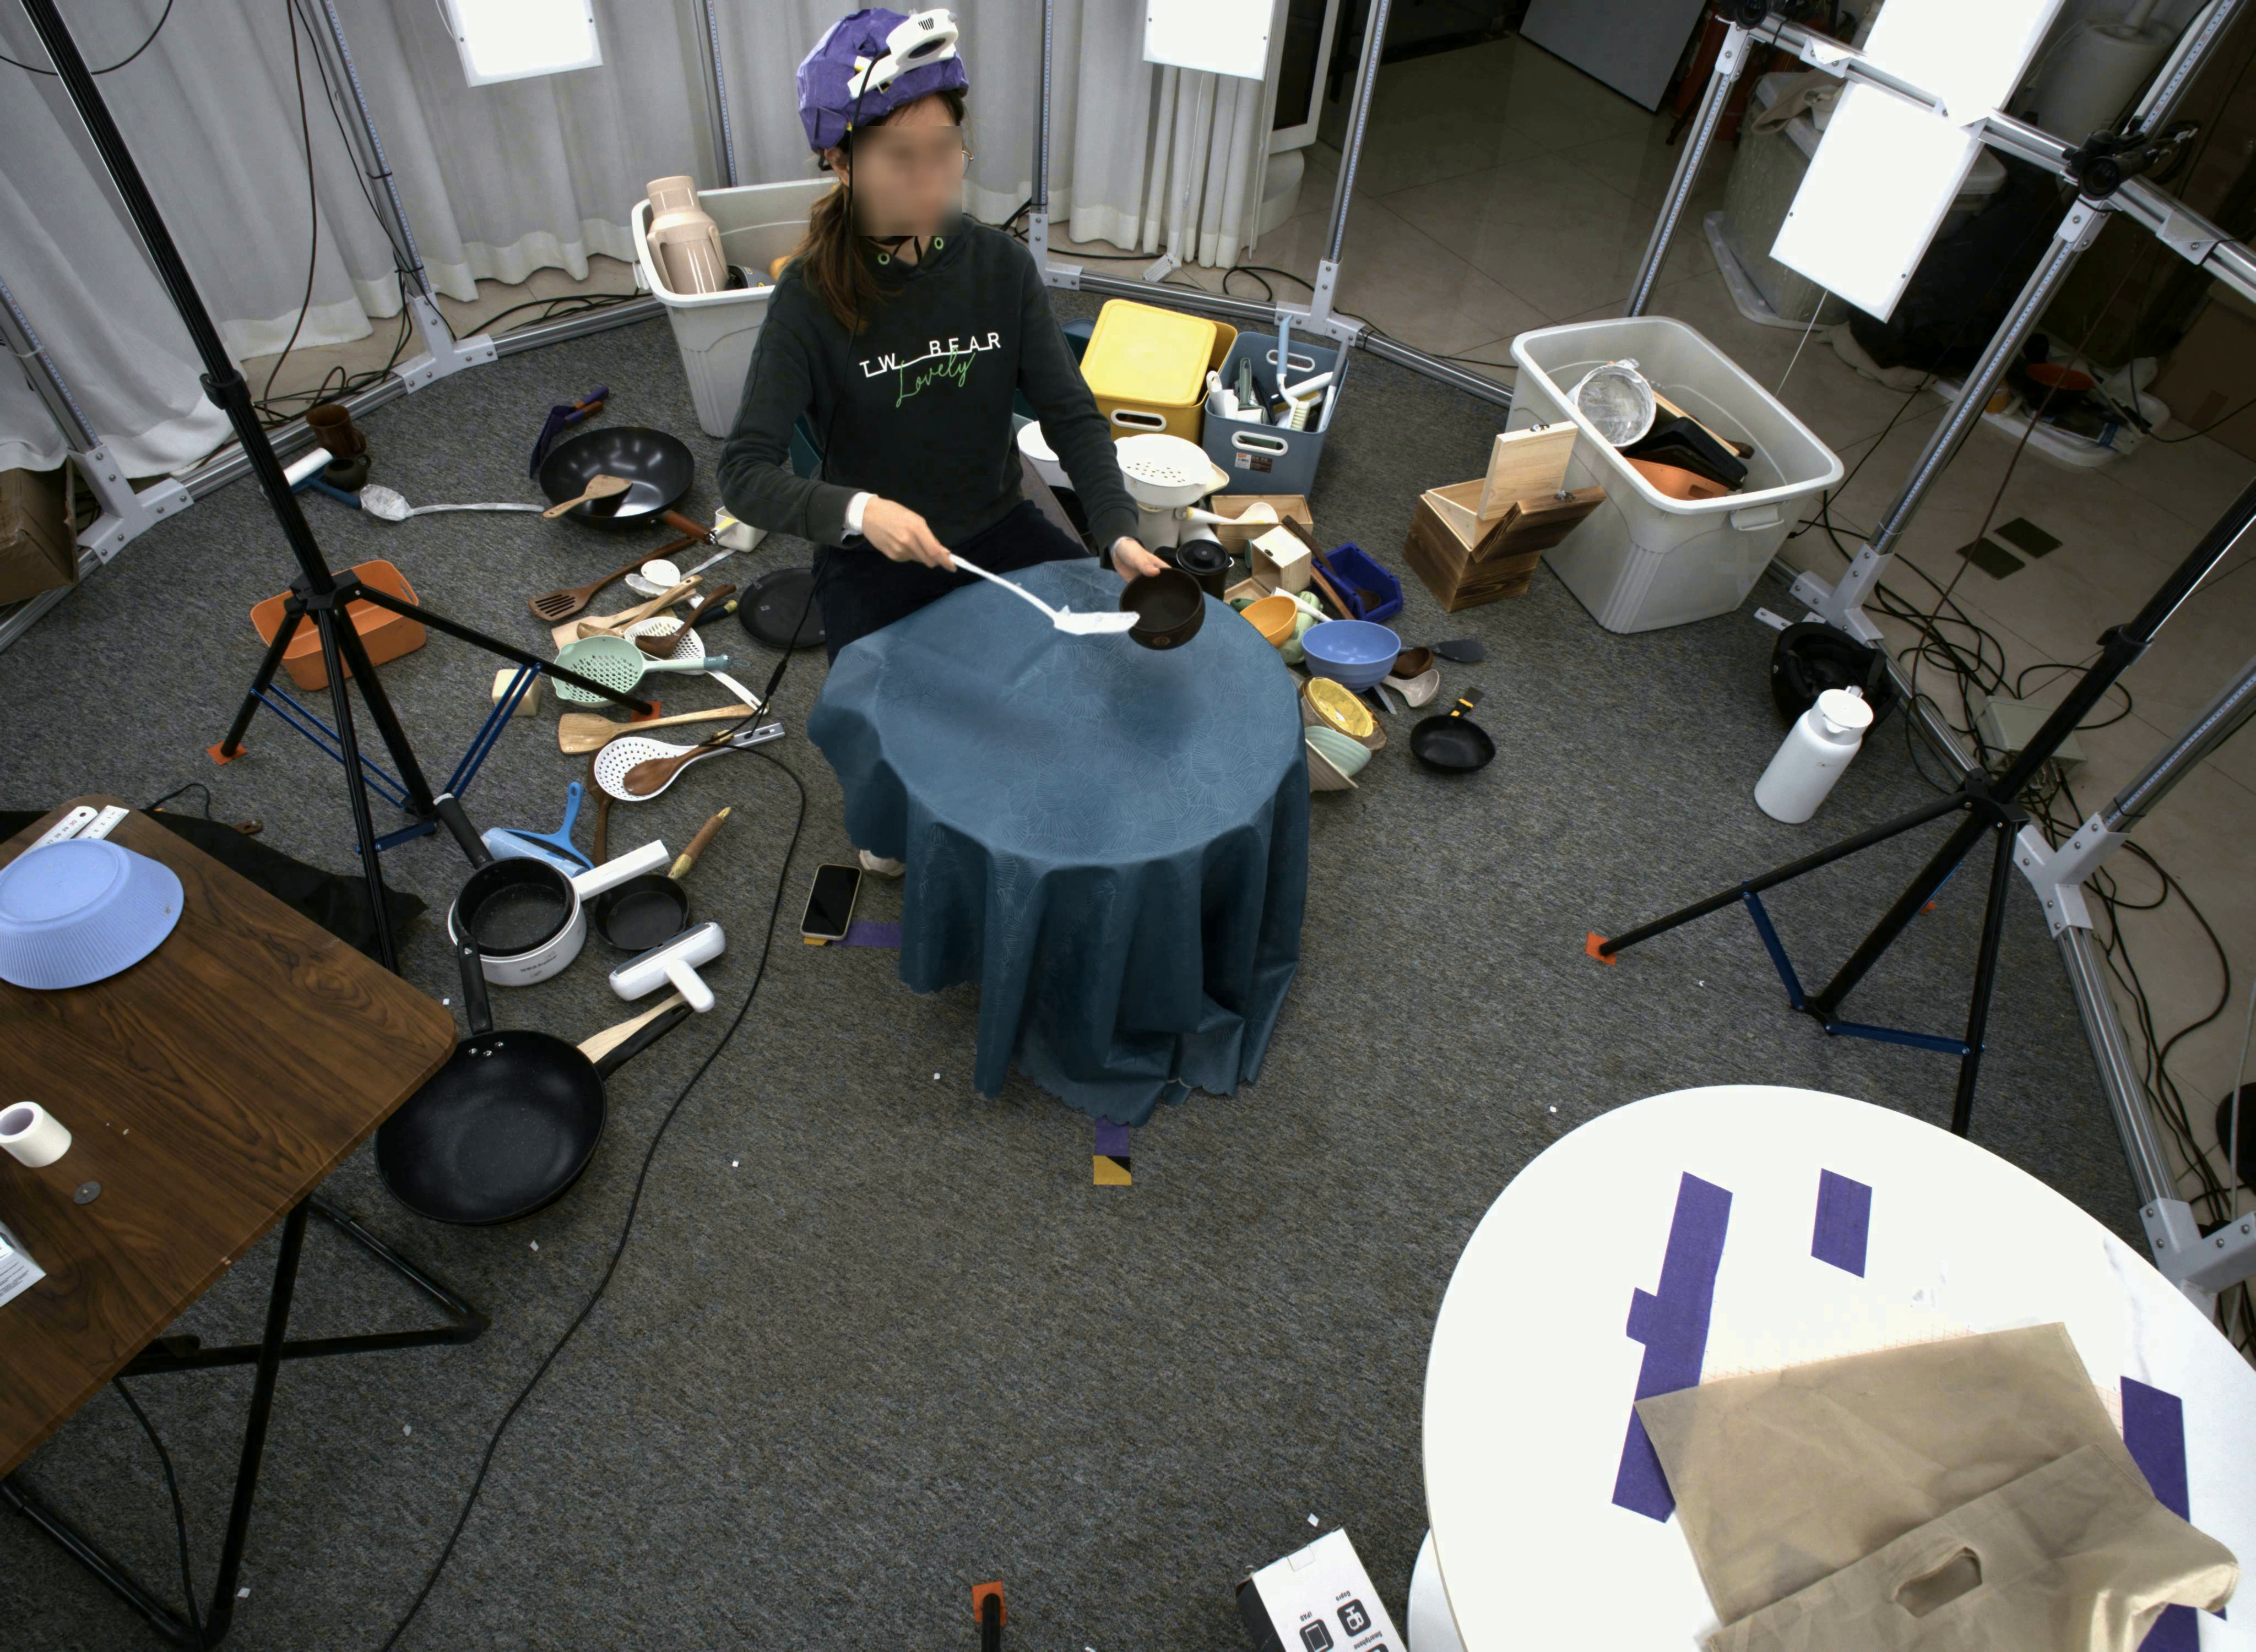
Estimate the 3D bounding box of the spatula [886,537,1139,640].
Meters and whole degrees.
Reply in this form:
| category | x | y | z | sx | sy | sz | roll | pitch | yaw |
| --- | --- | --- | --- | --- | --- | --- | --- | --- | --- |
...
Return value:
| category | x | y | z | sx | sy | sz | roll | pitch | yaw |
| --- | --- | --- | --- | --- | --- | --- | --- | --- | --- |
| spatula | -0.159 | -0.312 | 1.657 | 0.367 | 0.044 | 0.100 | 27 | 33 | 12 |

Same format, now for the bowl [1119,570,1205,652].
| category | x | y | z | sx | sy | sz | roll | pitch | yaw |
| --- | --- | --- | --- | --- | --- | --- | --- | --- | --- |
| bowl | 0.050 | -0.291 | 1.789 | 0.118 | 0.068 | 0.121 | -6 | 55 | 9 |
